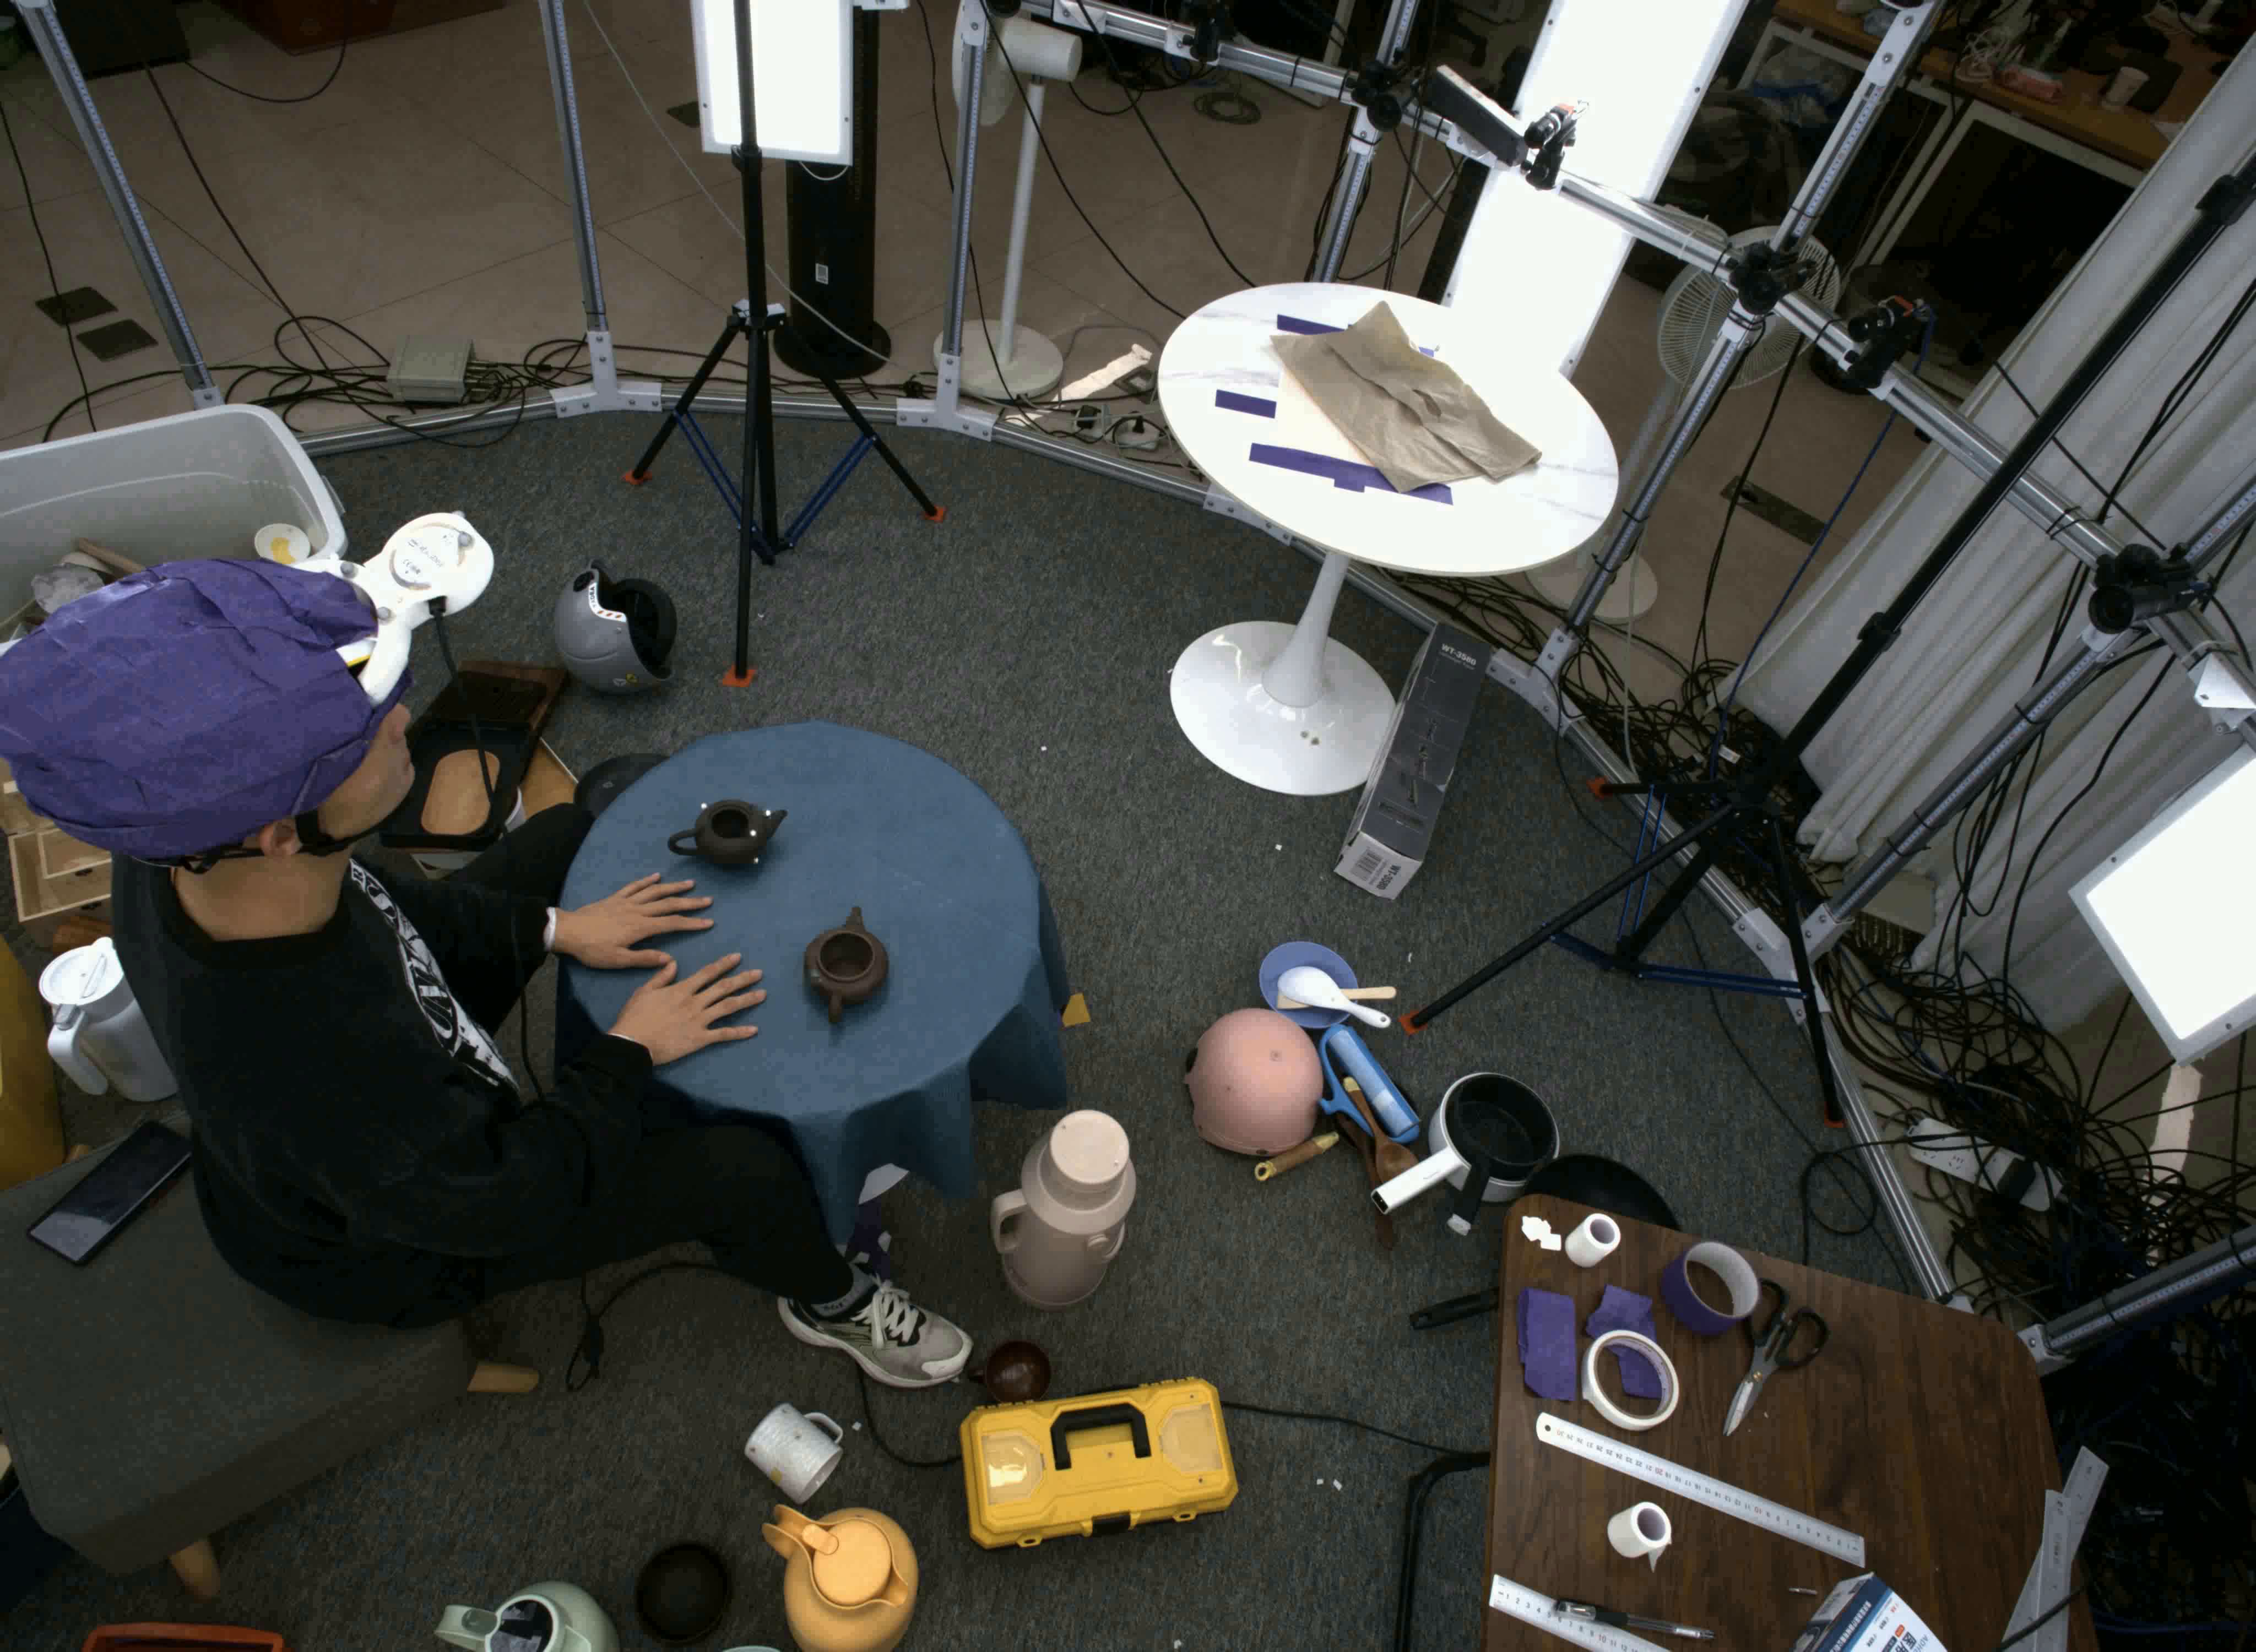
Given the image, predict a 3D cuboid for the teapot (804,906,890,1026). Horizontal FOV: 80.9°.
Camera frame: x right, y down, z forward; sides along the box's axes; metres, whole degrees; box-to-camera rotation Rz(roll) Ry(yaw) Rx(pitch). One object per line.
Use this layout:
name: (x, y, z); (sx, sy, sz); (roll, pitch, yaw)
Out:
teapot: (-0.342, 0.171, 1.579); (0.102, 0.055, 0.150); (3, 52, -8)

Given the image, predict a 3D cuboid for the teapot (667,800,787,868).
teapot: (-0.511, 0.010, 1.650); (0.155, 0.066, 0.090); (-14, 55, -23)
